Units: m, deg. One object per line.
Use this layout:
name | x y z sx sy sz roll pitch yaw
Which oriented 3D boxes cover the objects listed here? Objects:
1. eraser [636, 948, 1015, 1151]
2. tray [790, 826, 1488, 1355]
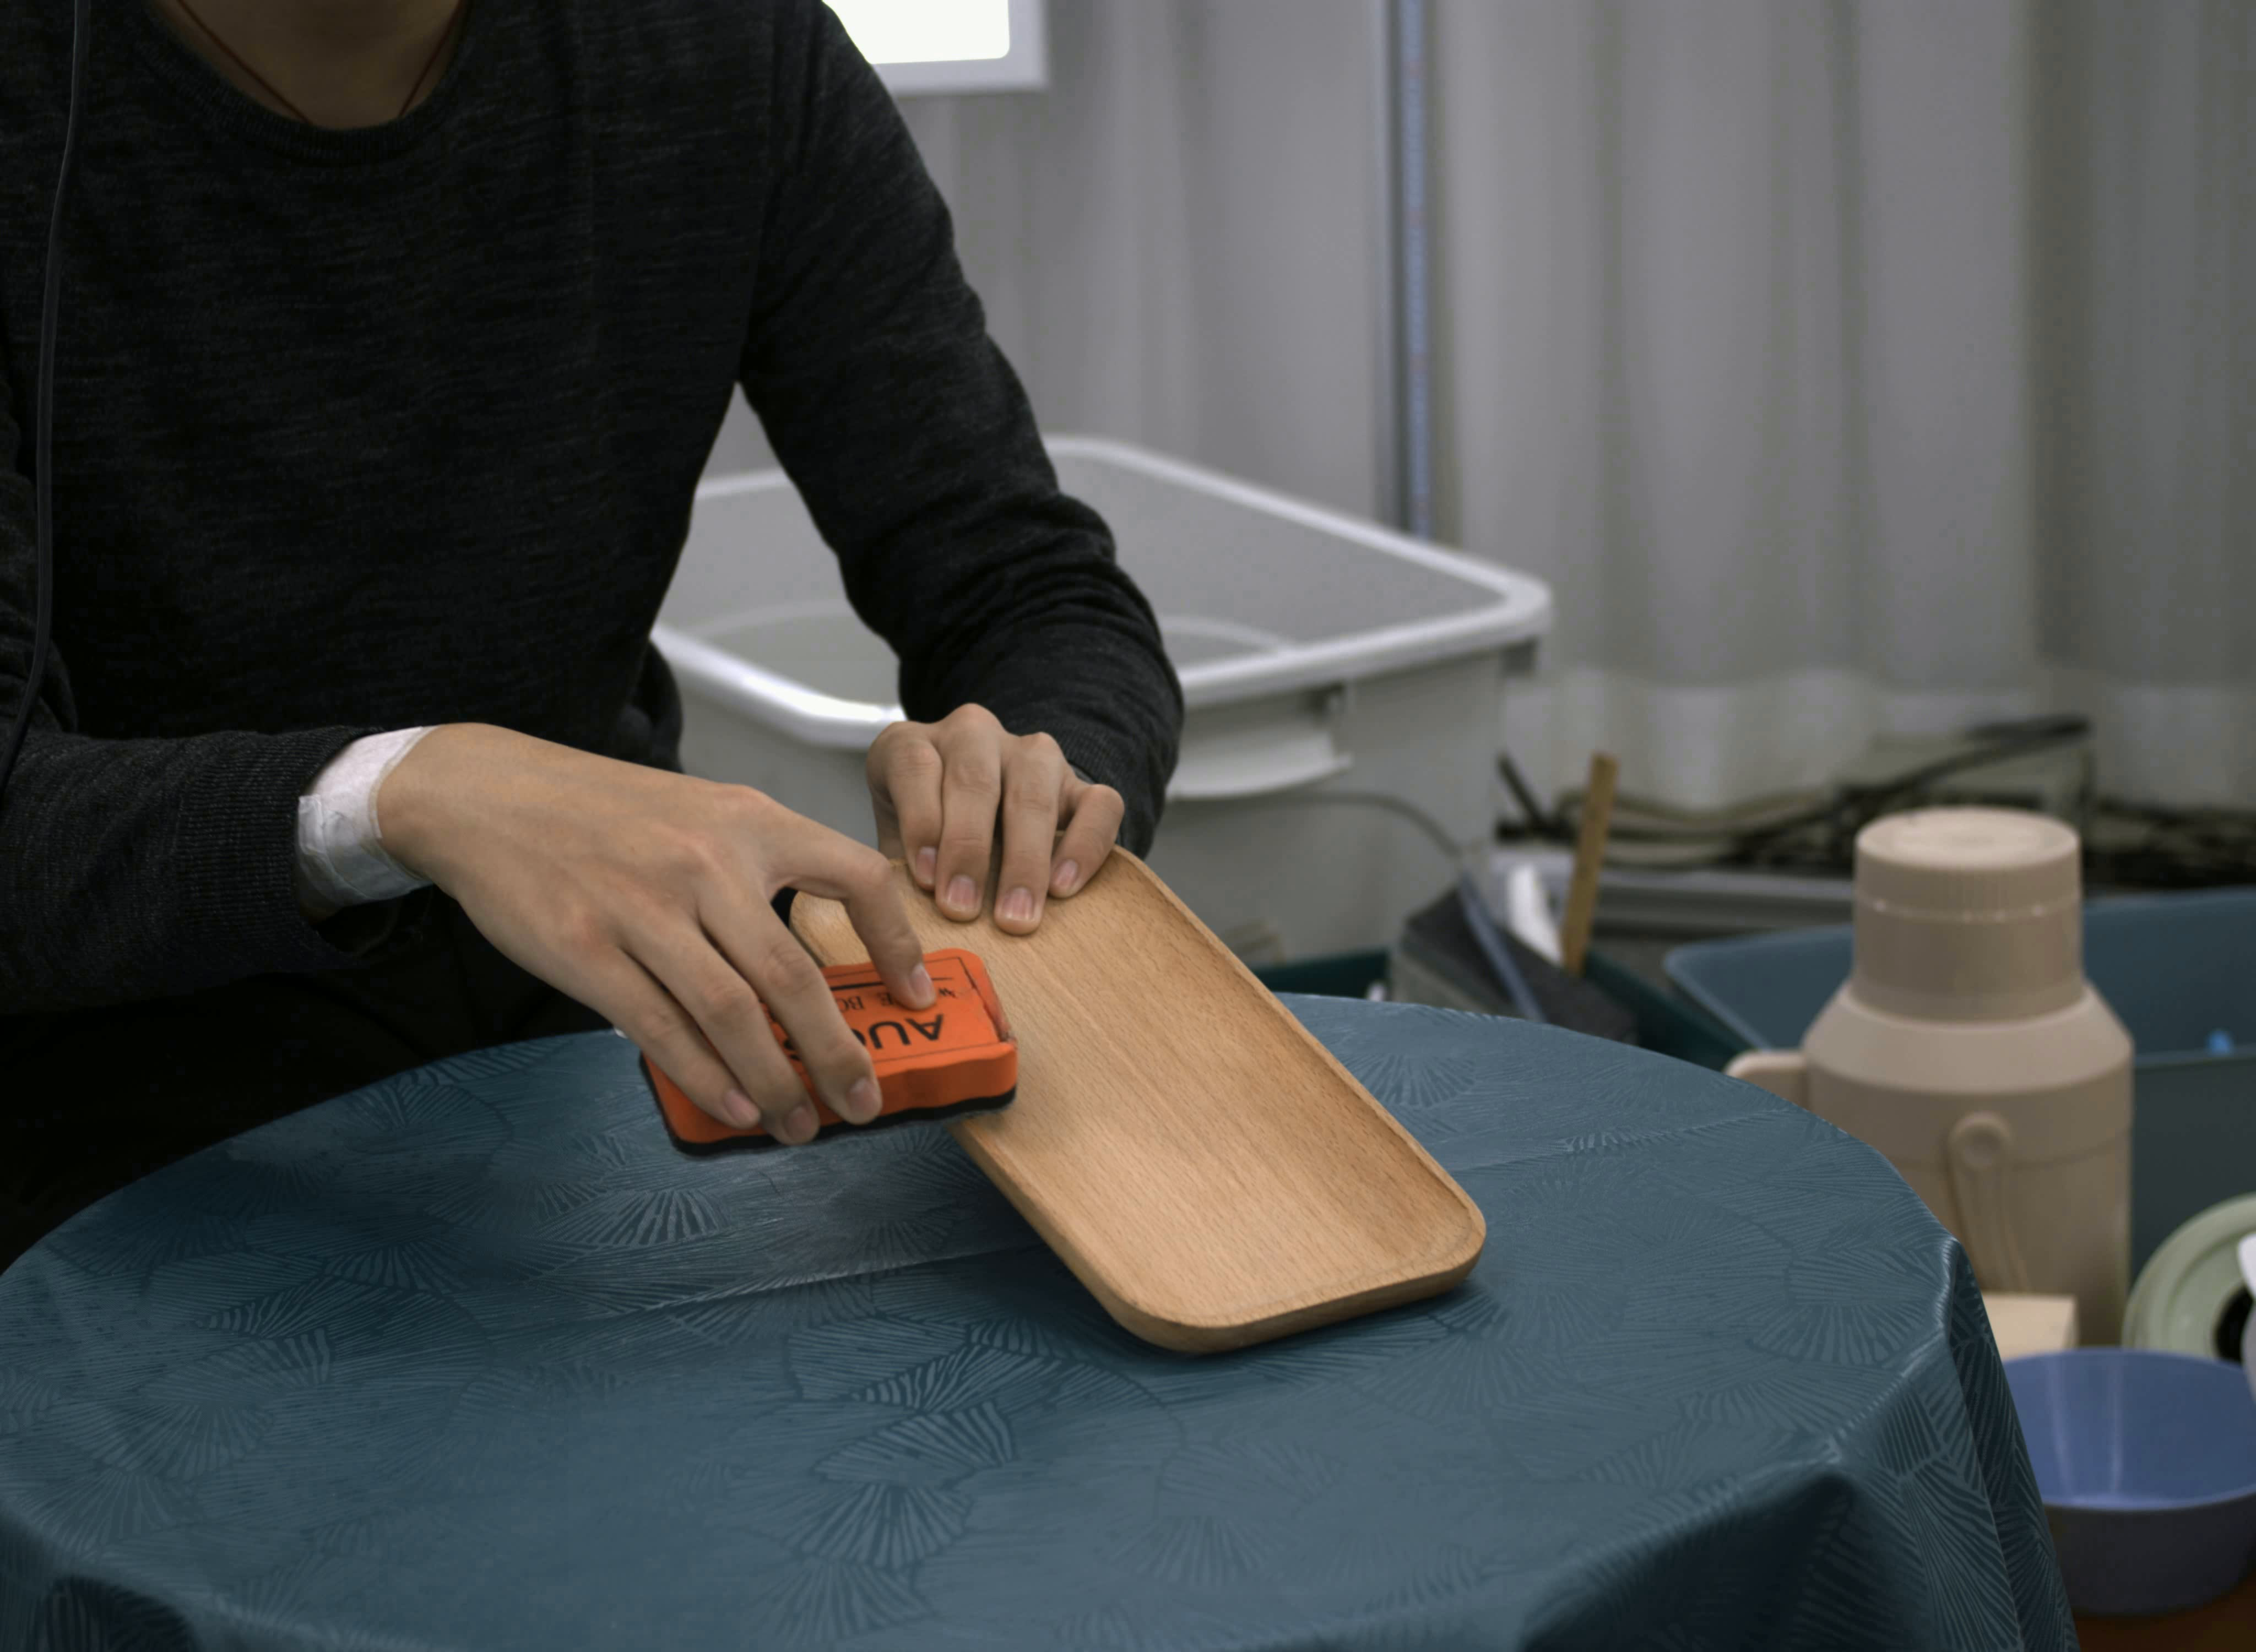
eraser | -0.091 0.066 1.637 0.107 0.022 0.060 -7 34 -14
tray | -0.001 0.077 1.669 0.130 0.022 0.254 -9 35 -29
